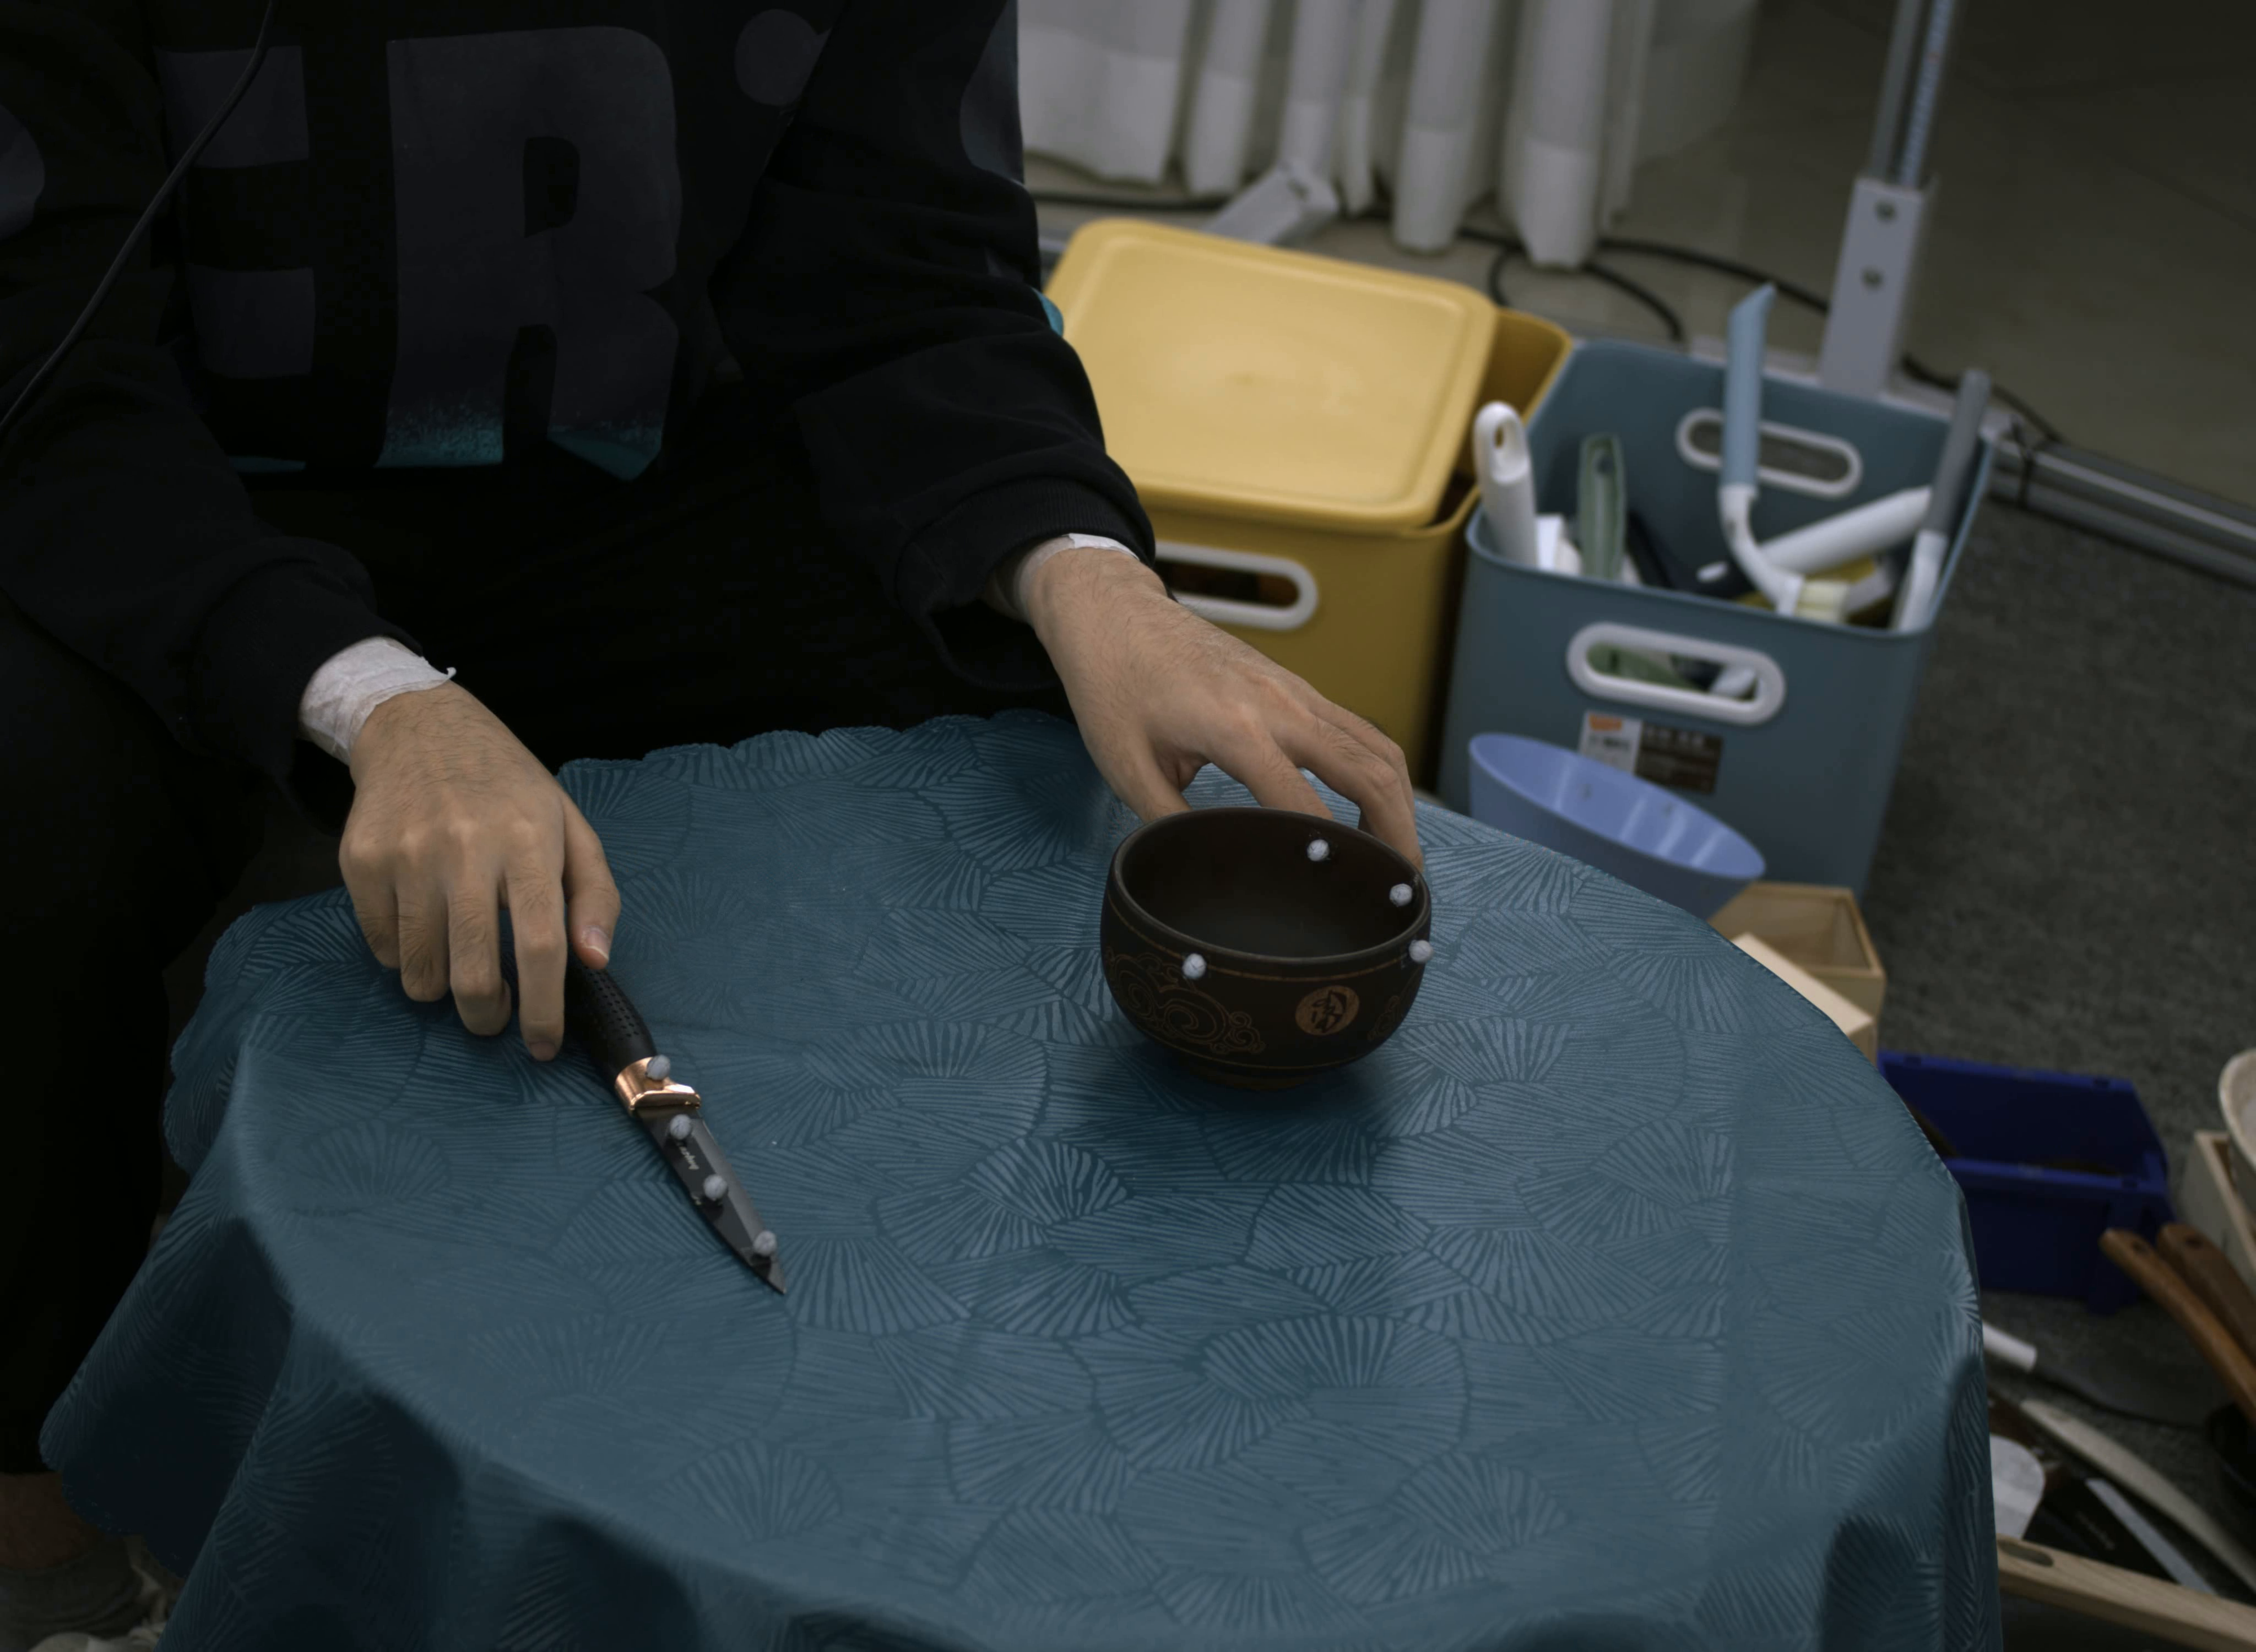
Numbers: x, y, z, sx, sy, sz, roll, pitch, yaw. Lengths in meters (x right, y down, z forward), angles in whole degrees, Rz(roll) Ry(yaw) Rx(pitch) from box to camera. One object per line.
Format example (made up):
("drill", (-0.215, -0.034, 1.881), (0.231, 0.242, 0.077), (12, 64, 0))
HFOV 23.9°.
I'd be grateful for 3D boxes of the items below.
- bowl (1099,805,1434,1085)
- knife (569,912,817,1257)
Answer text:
("bowl", (0.047, 0.048, 1.879), (0.117, 0.069, 0.118), (5, 25, -3))
("knife", (-0.149, 0.089, 1.806), (0.017, 0.026, 0.227), (19, 18, -34))
